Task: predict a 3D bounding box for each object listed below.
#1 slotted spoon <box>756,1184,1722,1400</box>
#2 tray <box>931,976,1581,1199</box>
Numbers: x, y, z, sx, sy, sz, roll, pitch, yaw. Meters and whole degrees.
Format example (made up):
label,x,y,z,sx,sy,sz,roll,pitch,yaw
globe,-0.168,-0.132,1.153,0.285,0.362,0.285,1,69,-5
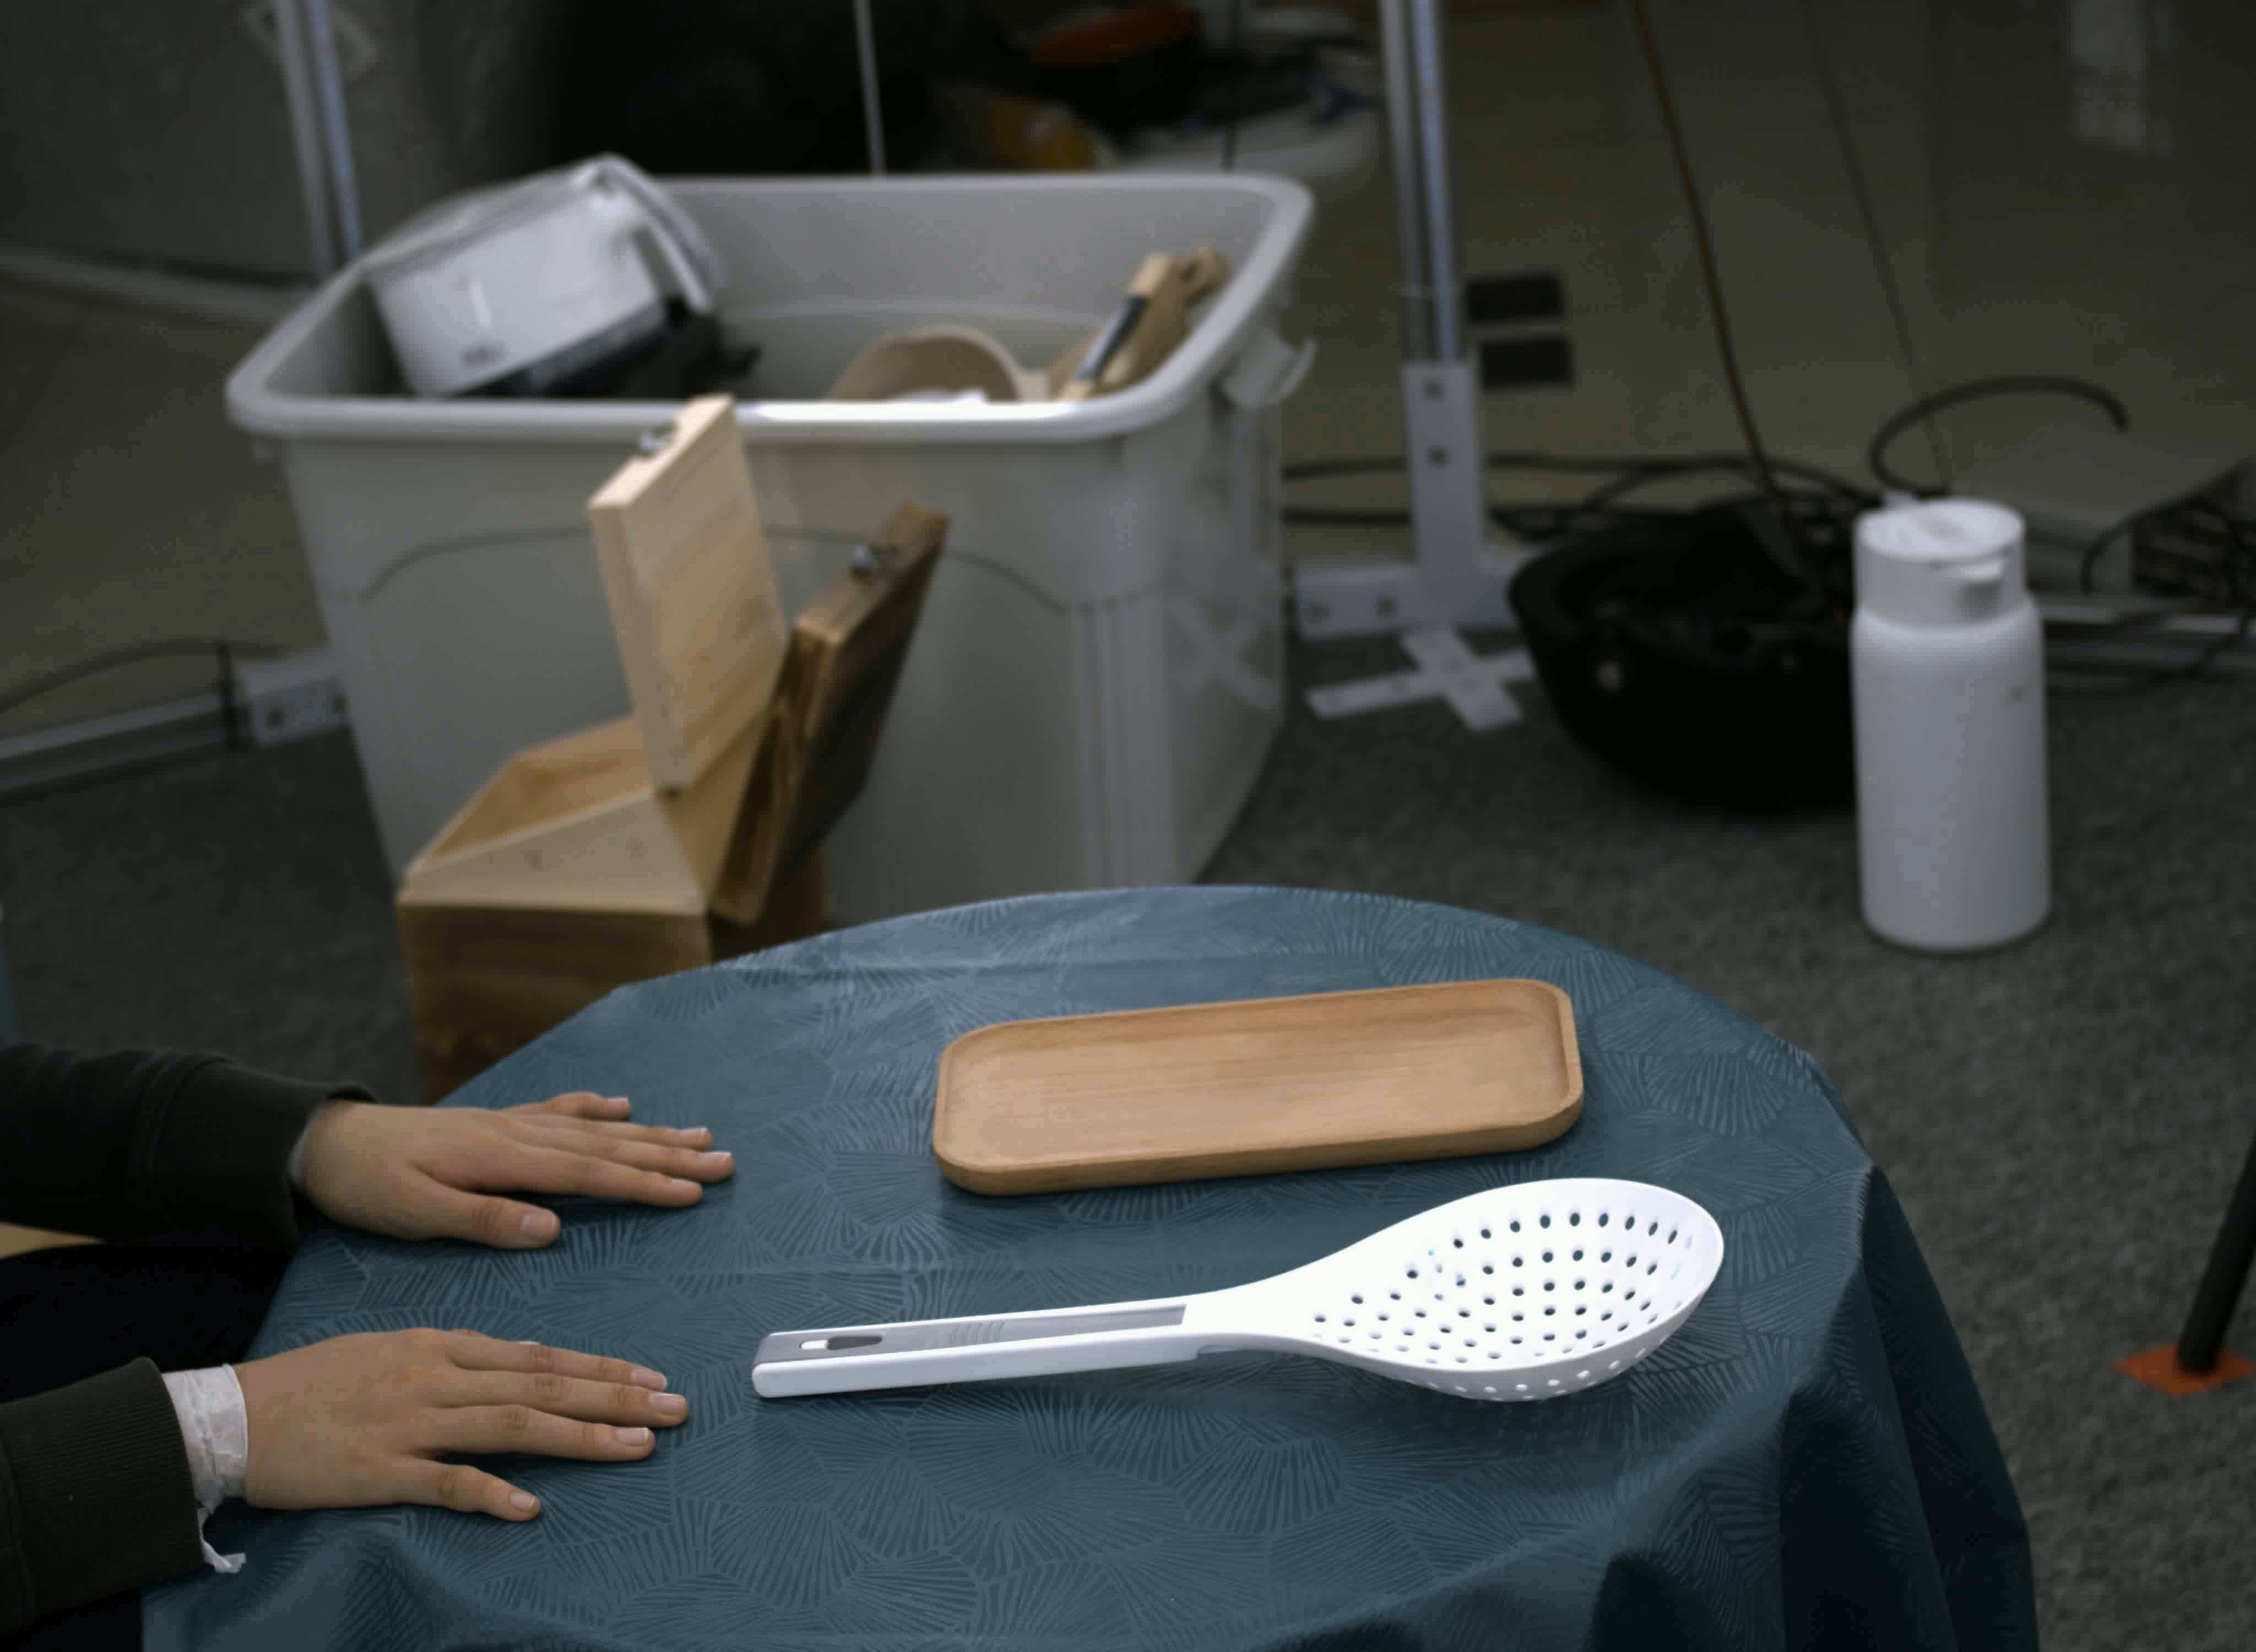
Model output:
label,x,y,z,sx,sy,sz,roll,pitch,yaw
slotted spoon,0.037,0.176,2.010,0.349,0.046,0.134,-3,23,10
tray,0.049,0.102,2.201,0.250,0.023,0.129,-6,23,4
